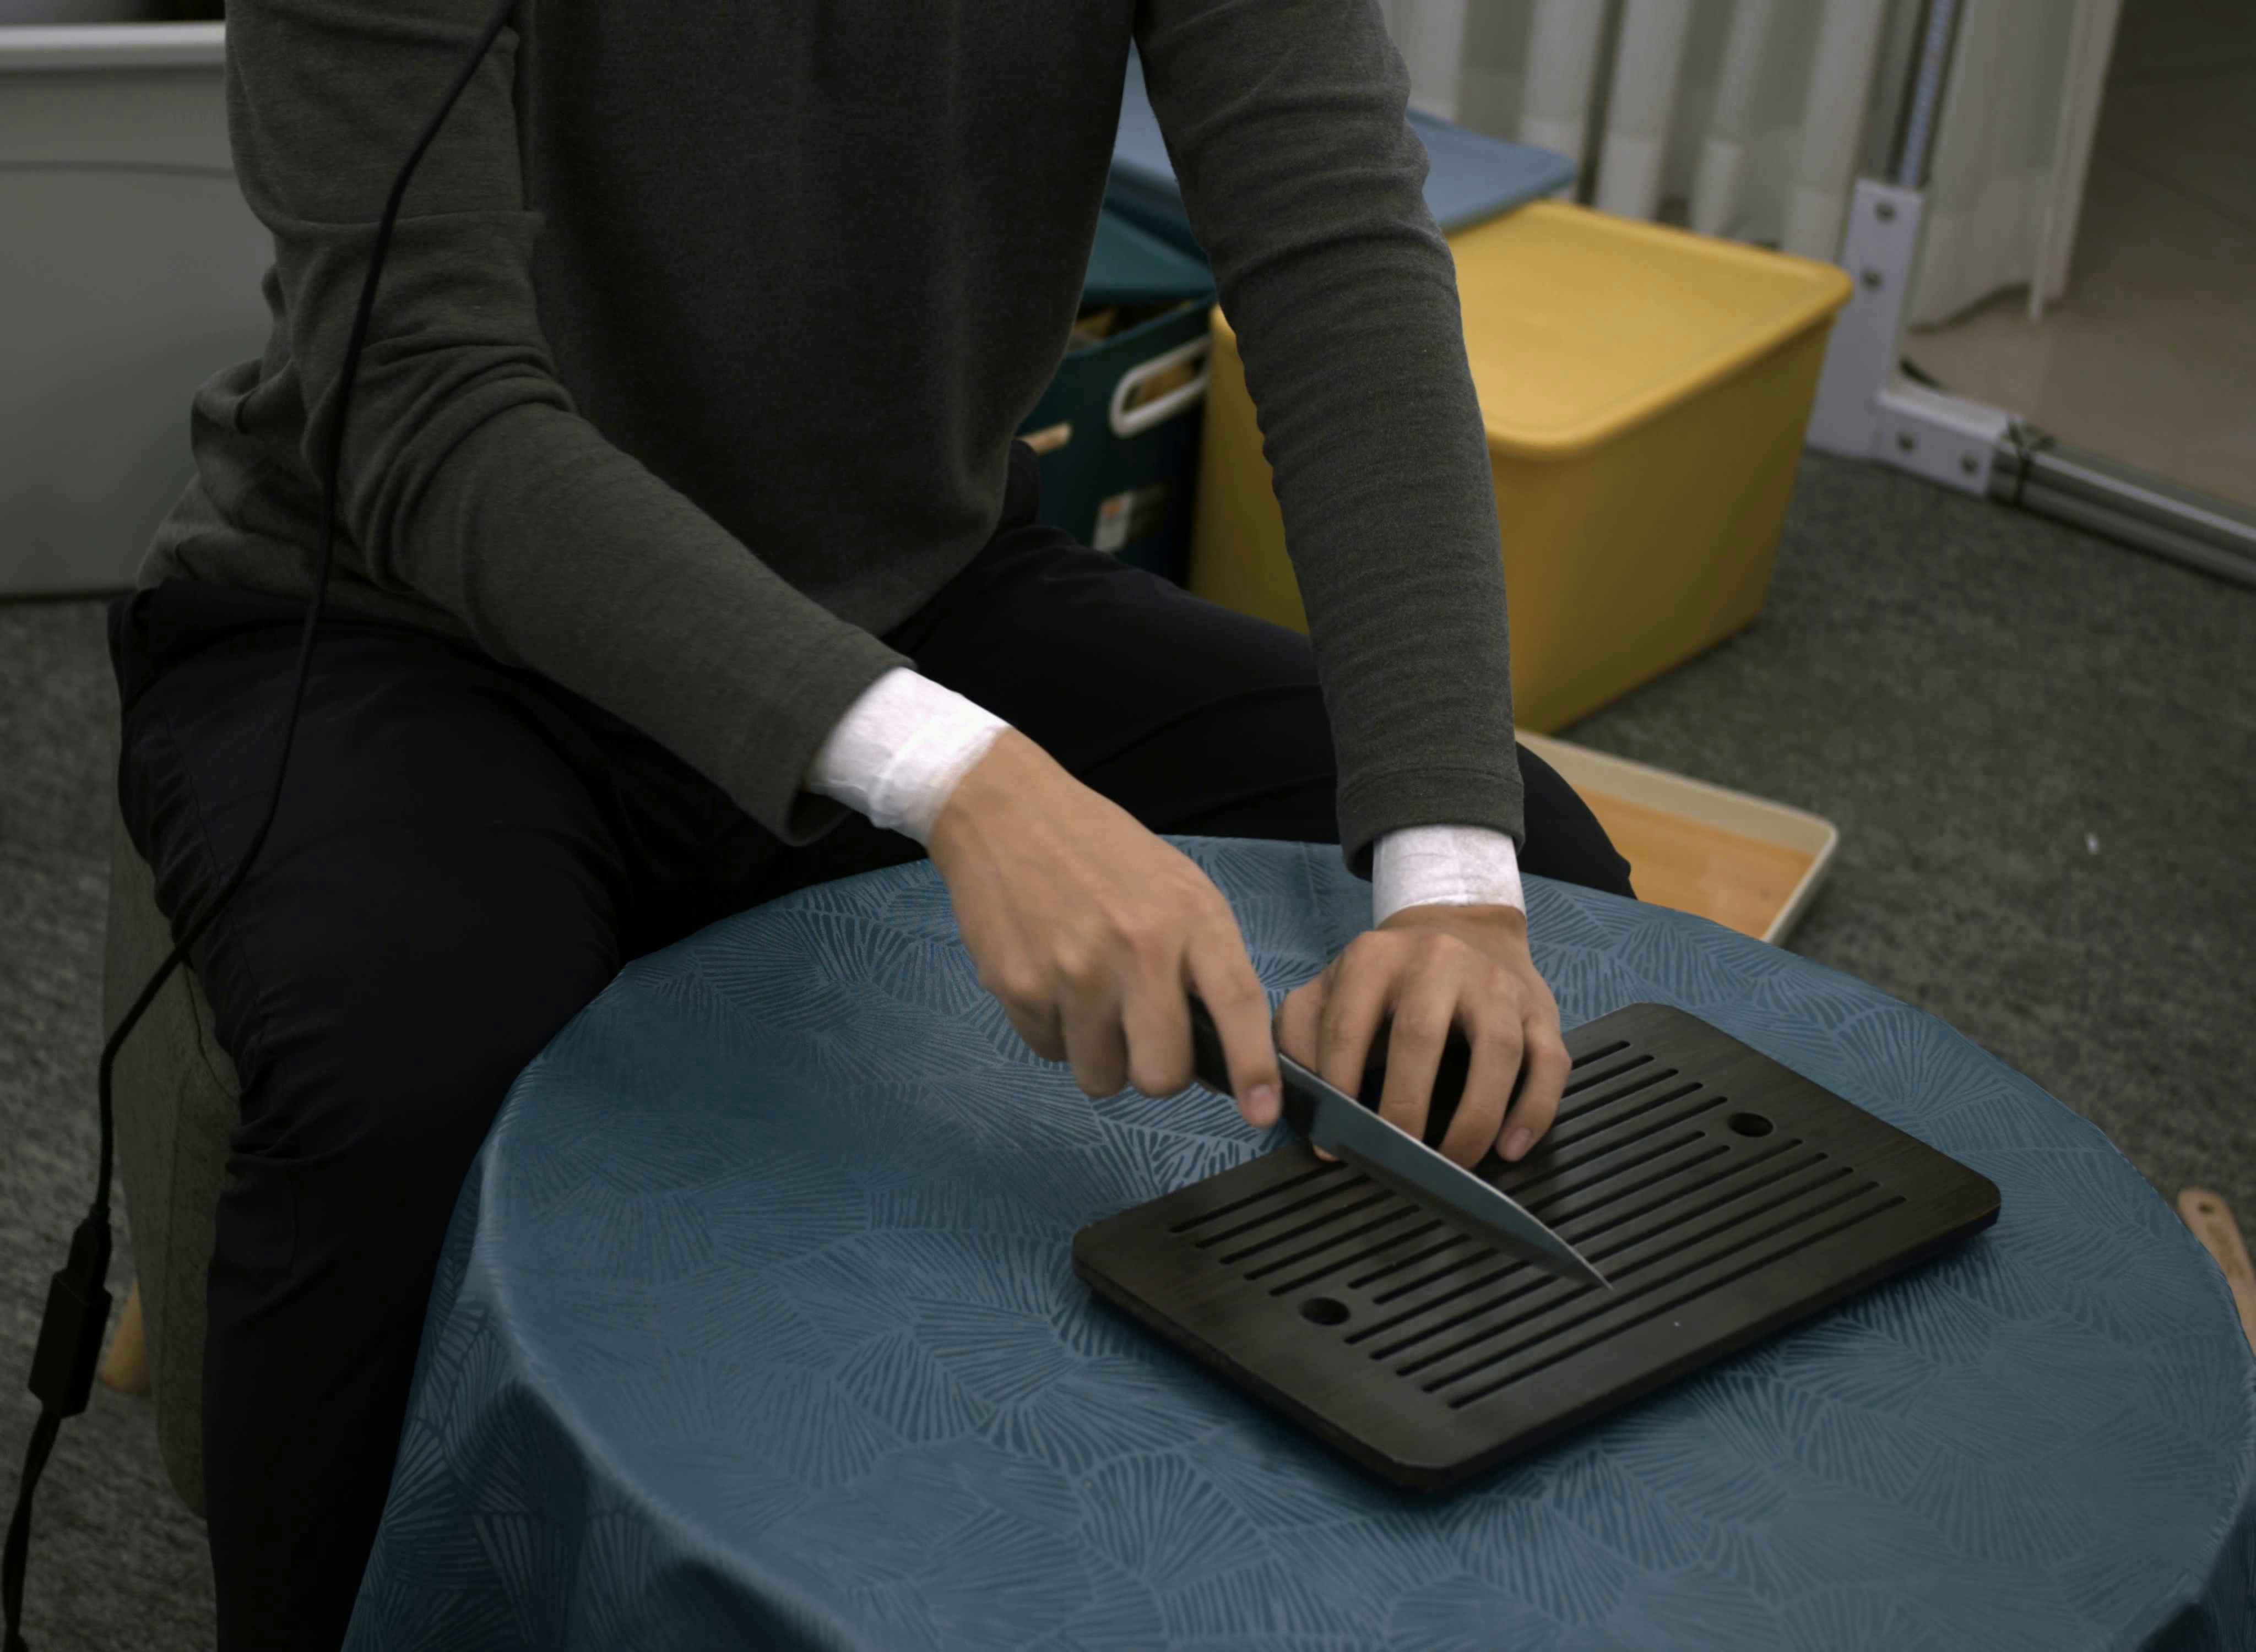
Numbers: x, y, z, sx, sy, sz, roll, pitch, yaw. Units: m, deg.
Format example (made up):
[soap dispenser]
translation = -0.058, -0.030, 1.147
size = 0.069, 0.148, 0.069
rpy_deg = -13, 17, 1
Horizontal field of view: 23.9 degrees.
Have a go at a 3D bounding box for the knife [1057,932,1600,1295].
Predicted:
[knife]
translation = 0.065, 0.092, 1.734
size = 0.240, 0.024, 0.016
rpy_deg = 32, 28, 34

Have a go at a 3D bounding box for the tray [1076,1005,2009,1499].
[tray]
translation = 0.142, 0.139, 1.787
size = 0.304, 0.018, 0.171
rpy_deg = -19, 36, -41
